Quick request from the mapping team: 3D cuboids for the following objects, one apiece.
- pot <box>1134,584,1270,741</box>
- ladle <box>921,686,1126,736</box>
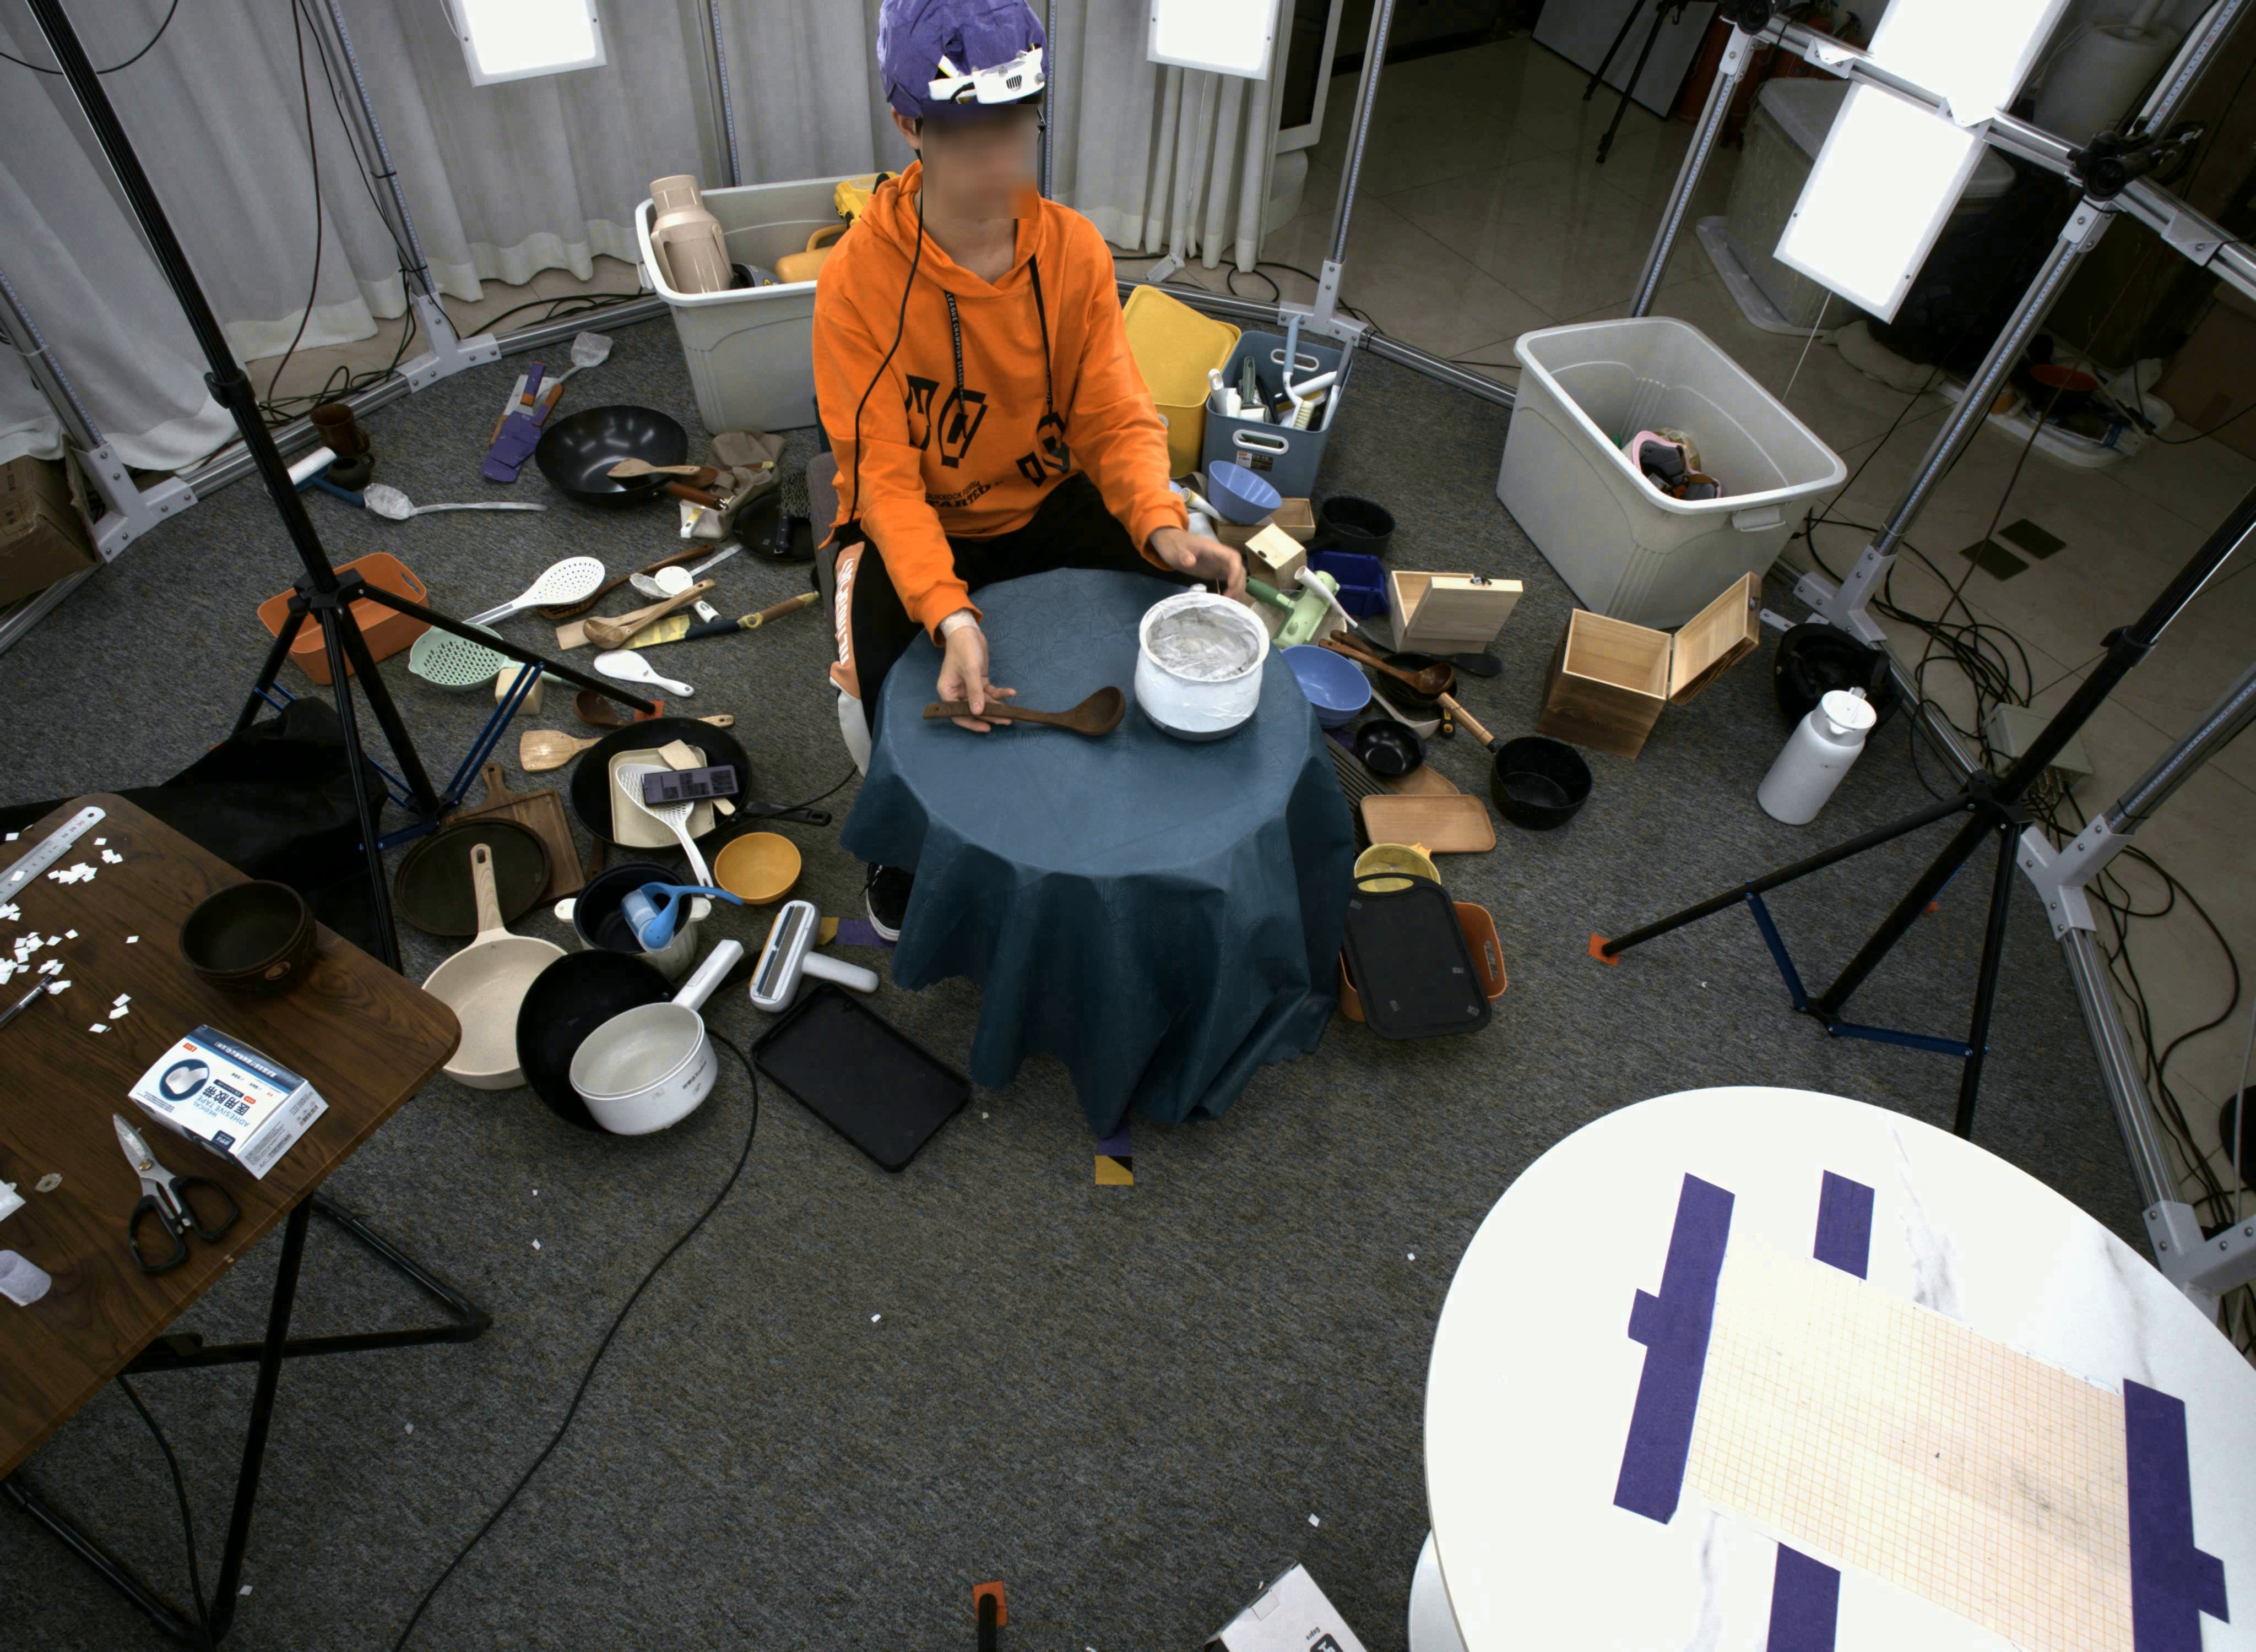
[{"bbox_3d":[0.097,-0.238,1.793,0.178,0.133,0.239,0,50,-5],"label":"pot"},{"bbox_3d":[-0.140,-0.165,1.747,0.273,0.070,0.078,5,47,-9],"label":"ladle"}]
